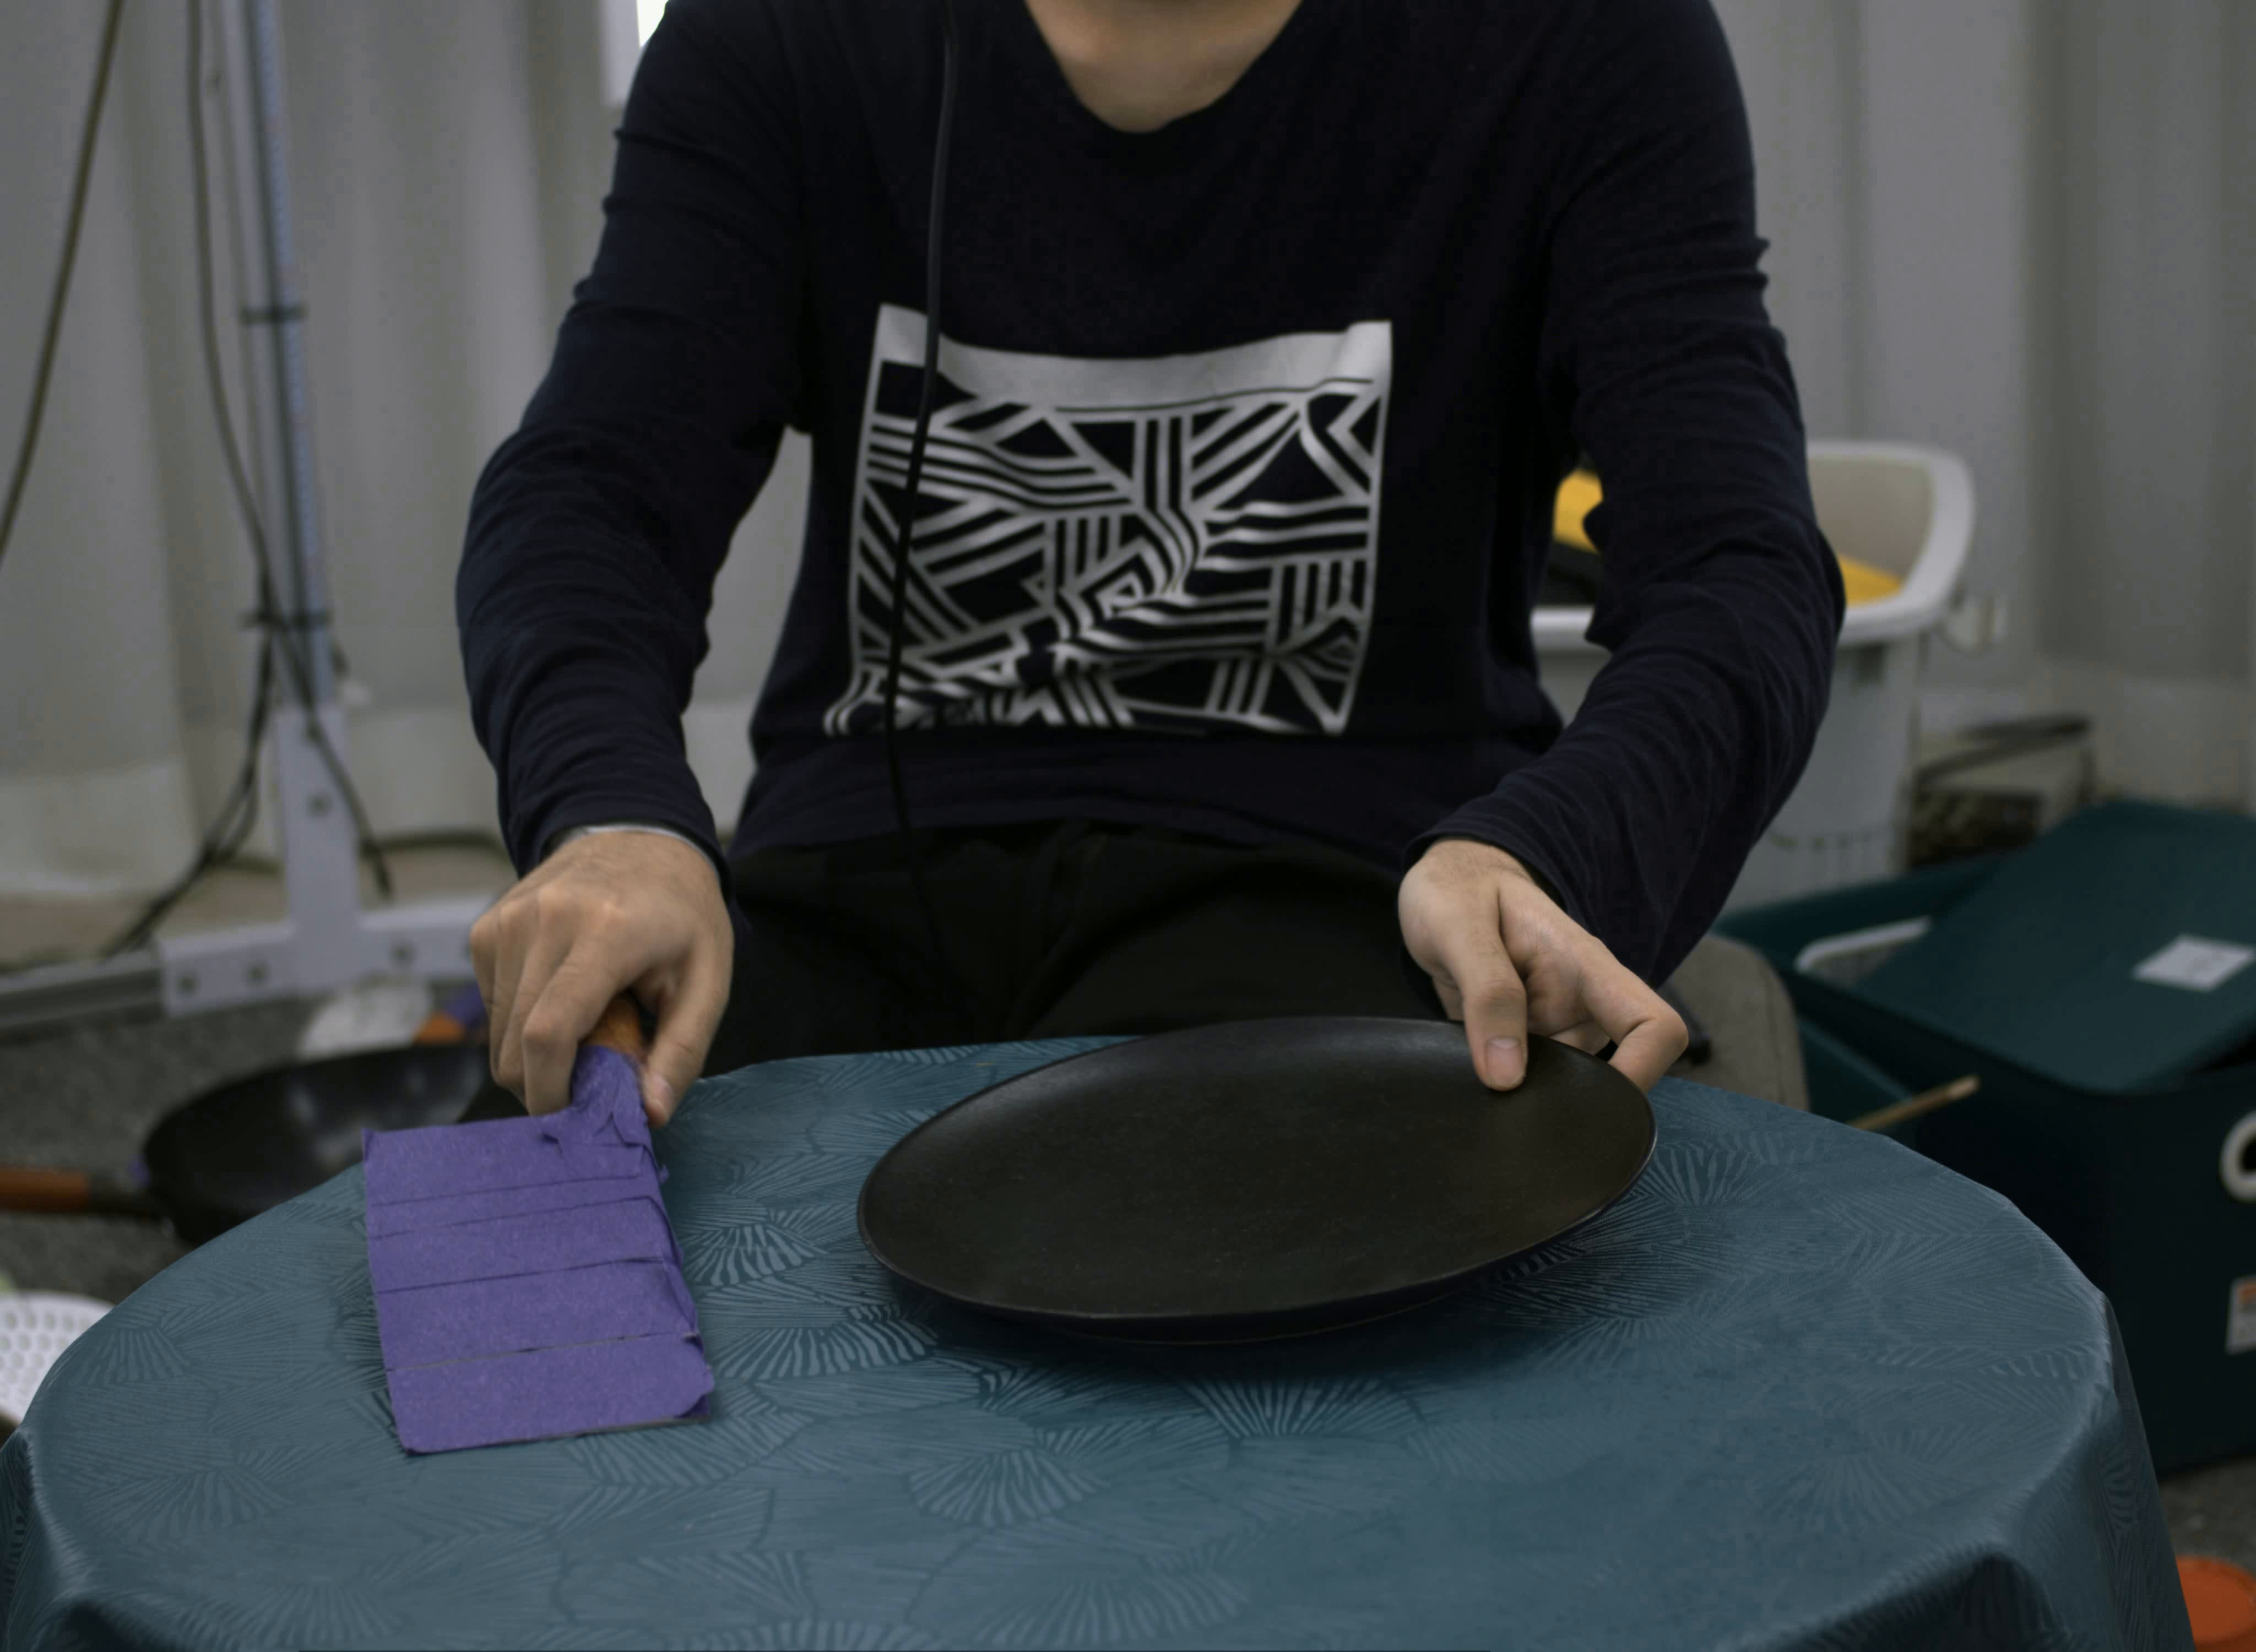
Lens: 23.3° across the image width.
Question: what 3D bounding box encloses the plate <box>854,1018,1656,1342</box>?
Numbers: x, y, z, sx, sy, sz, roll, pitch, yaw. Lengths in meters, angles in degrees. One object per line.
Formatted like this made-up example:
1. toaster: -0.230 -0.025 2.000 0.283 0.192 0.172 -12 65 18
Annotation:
1. plate: 0.039 0.110 1.655 0.243 0.023 0.246 -7 17 2

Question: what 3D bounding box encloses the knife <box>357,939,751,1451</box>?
1. knife: -0.186 0.108 1.669 0.103 0.032 0.318 -5 21 -10
